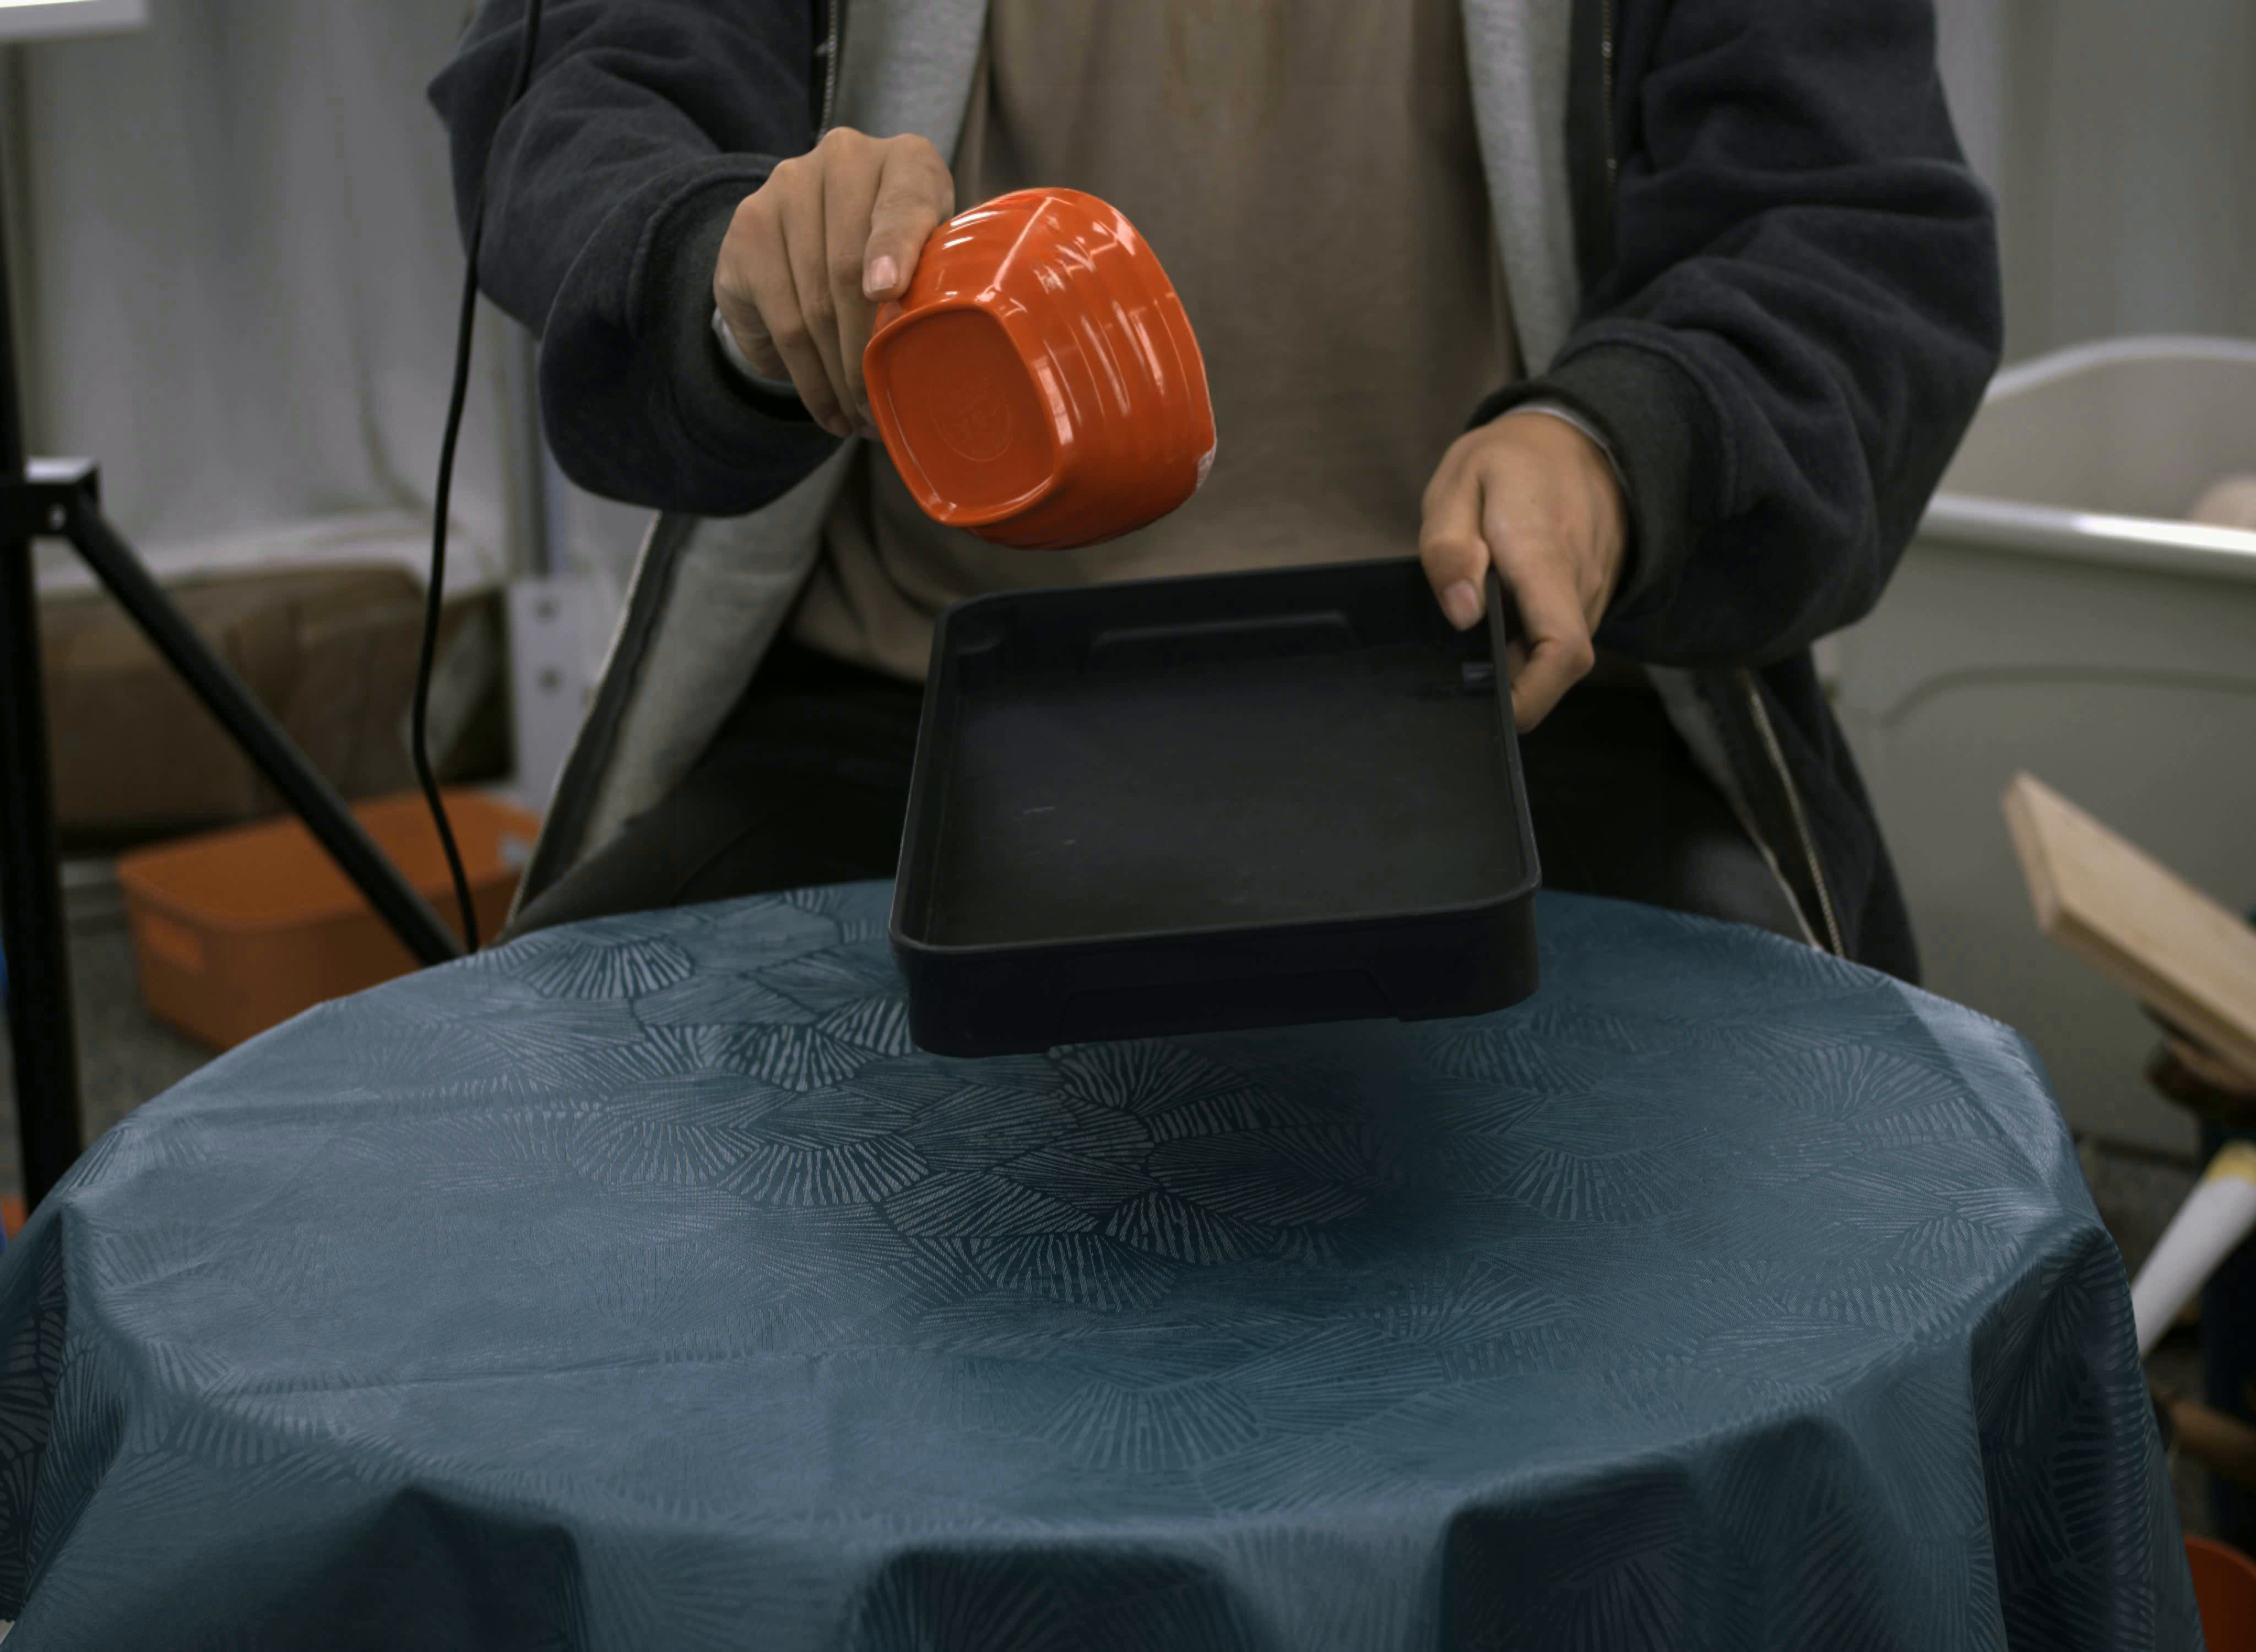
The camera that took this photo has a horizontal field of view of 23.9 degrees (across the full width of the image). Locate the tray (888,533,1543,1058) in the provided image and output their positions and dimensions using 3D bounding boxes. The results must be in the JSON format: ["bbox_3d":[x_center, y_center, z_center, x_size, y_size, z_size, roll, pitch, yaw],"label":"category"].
[{"bbox_3d":[0.027,-0.015,1.607,0.184,0.037,0.319,-5,22,3],"label":"tray"}]

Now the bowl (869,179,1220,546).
[{"bbox_3d":[-0.033,-0.131,1.594,0.121,0.118,0.050,11,28,38],"label":"bowl"}]
